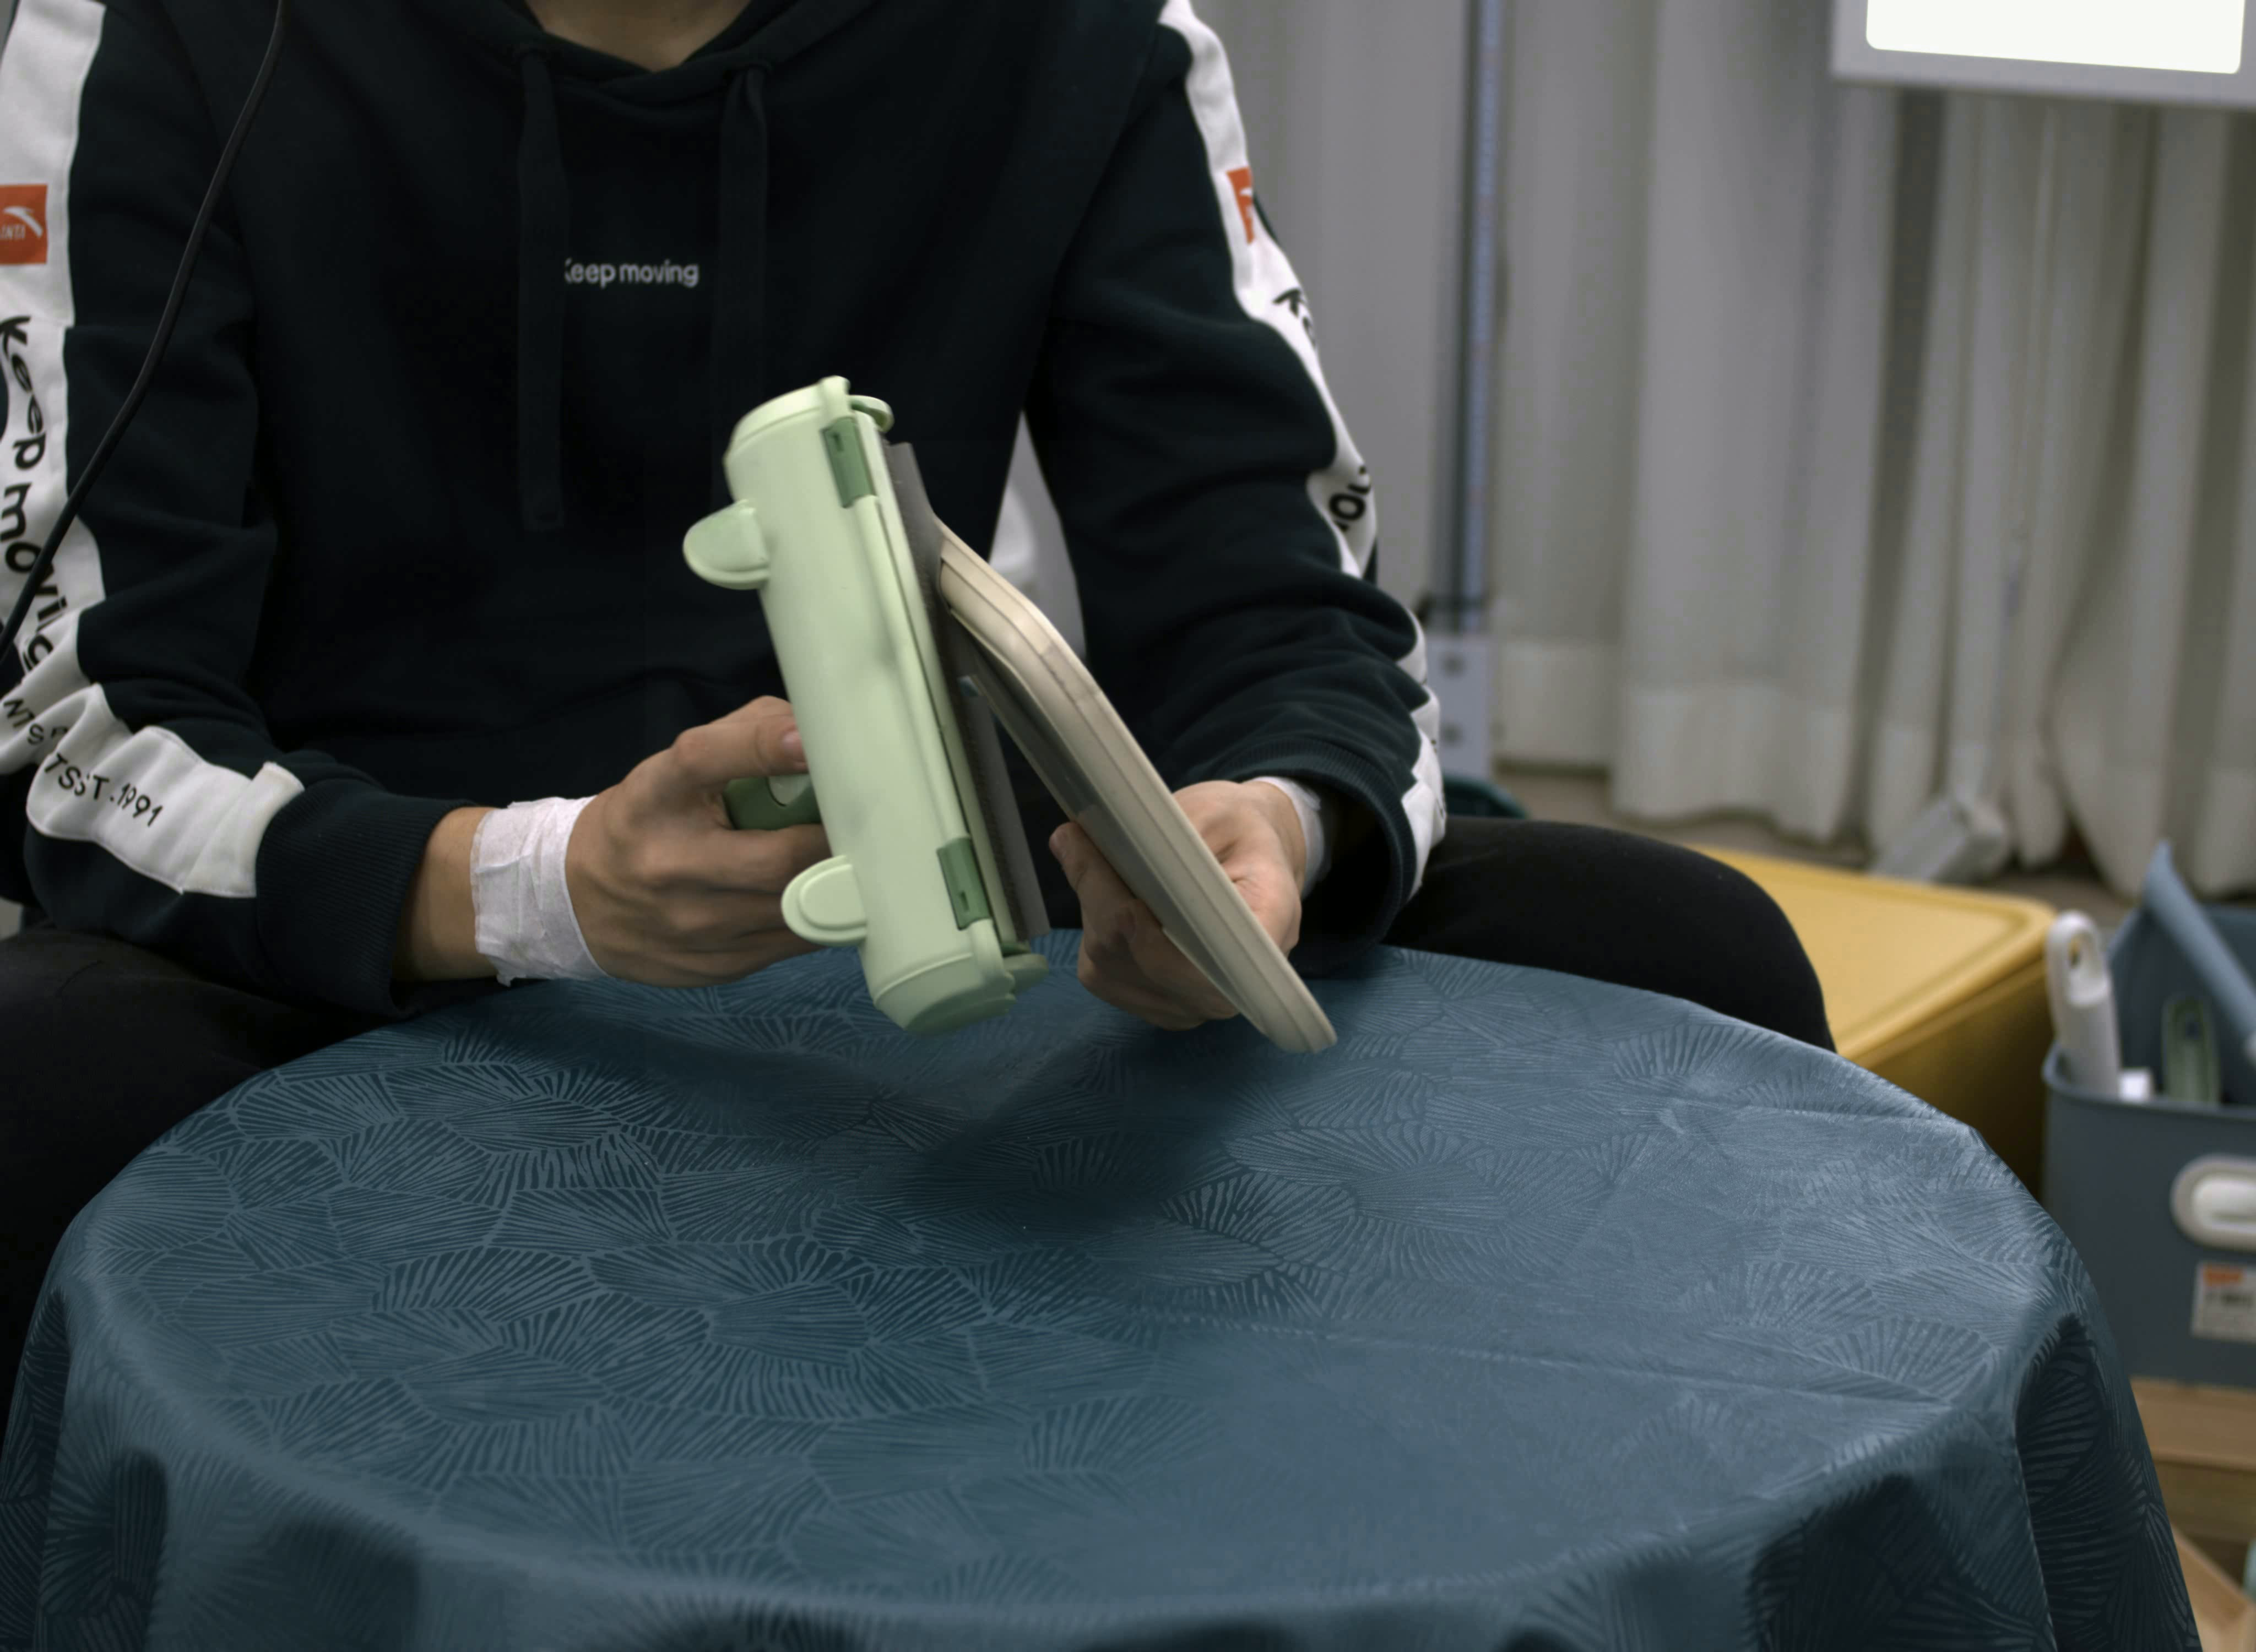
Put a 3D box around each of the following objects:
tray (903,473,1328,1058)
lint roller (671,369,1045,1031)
[{"bbox_3d":[-0.013,-0.019,1.629,0.017,0.173,0.237,-34,21,-4],"label":"tray"},{"bbox_3d":[-0.110,-0.017,1.621,0.082,0.198,0.183,-8,-16,-36],"label":"lint roller"}]
